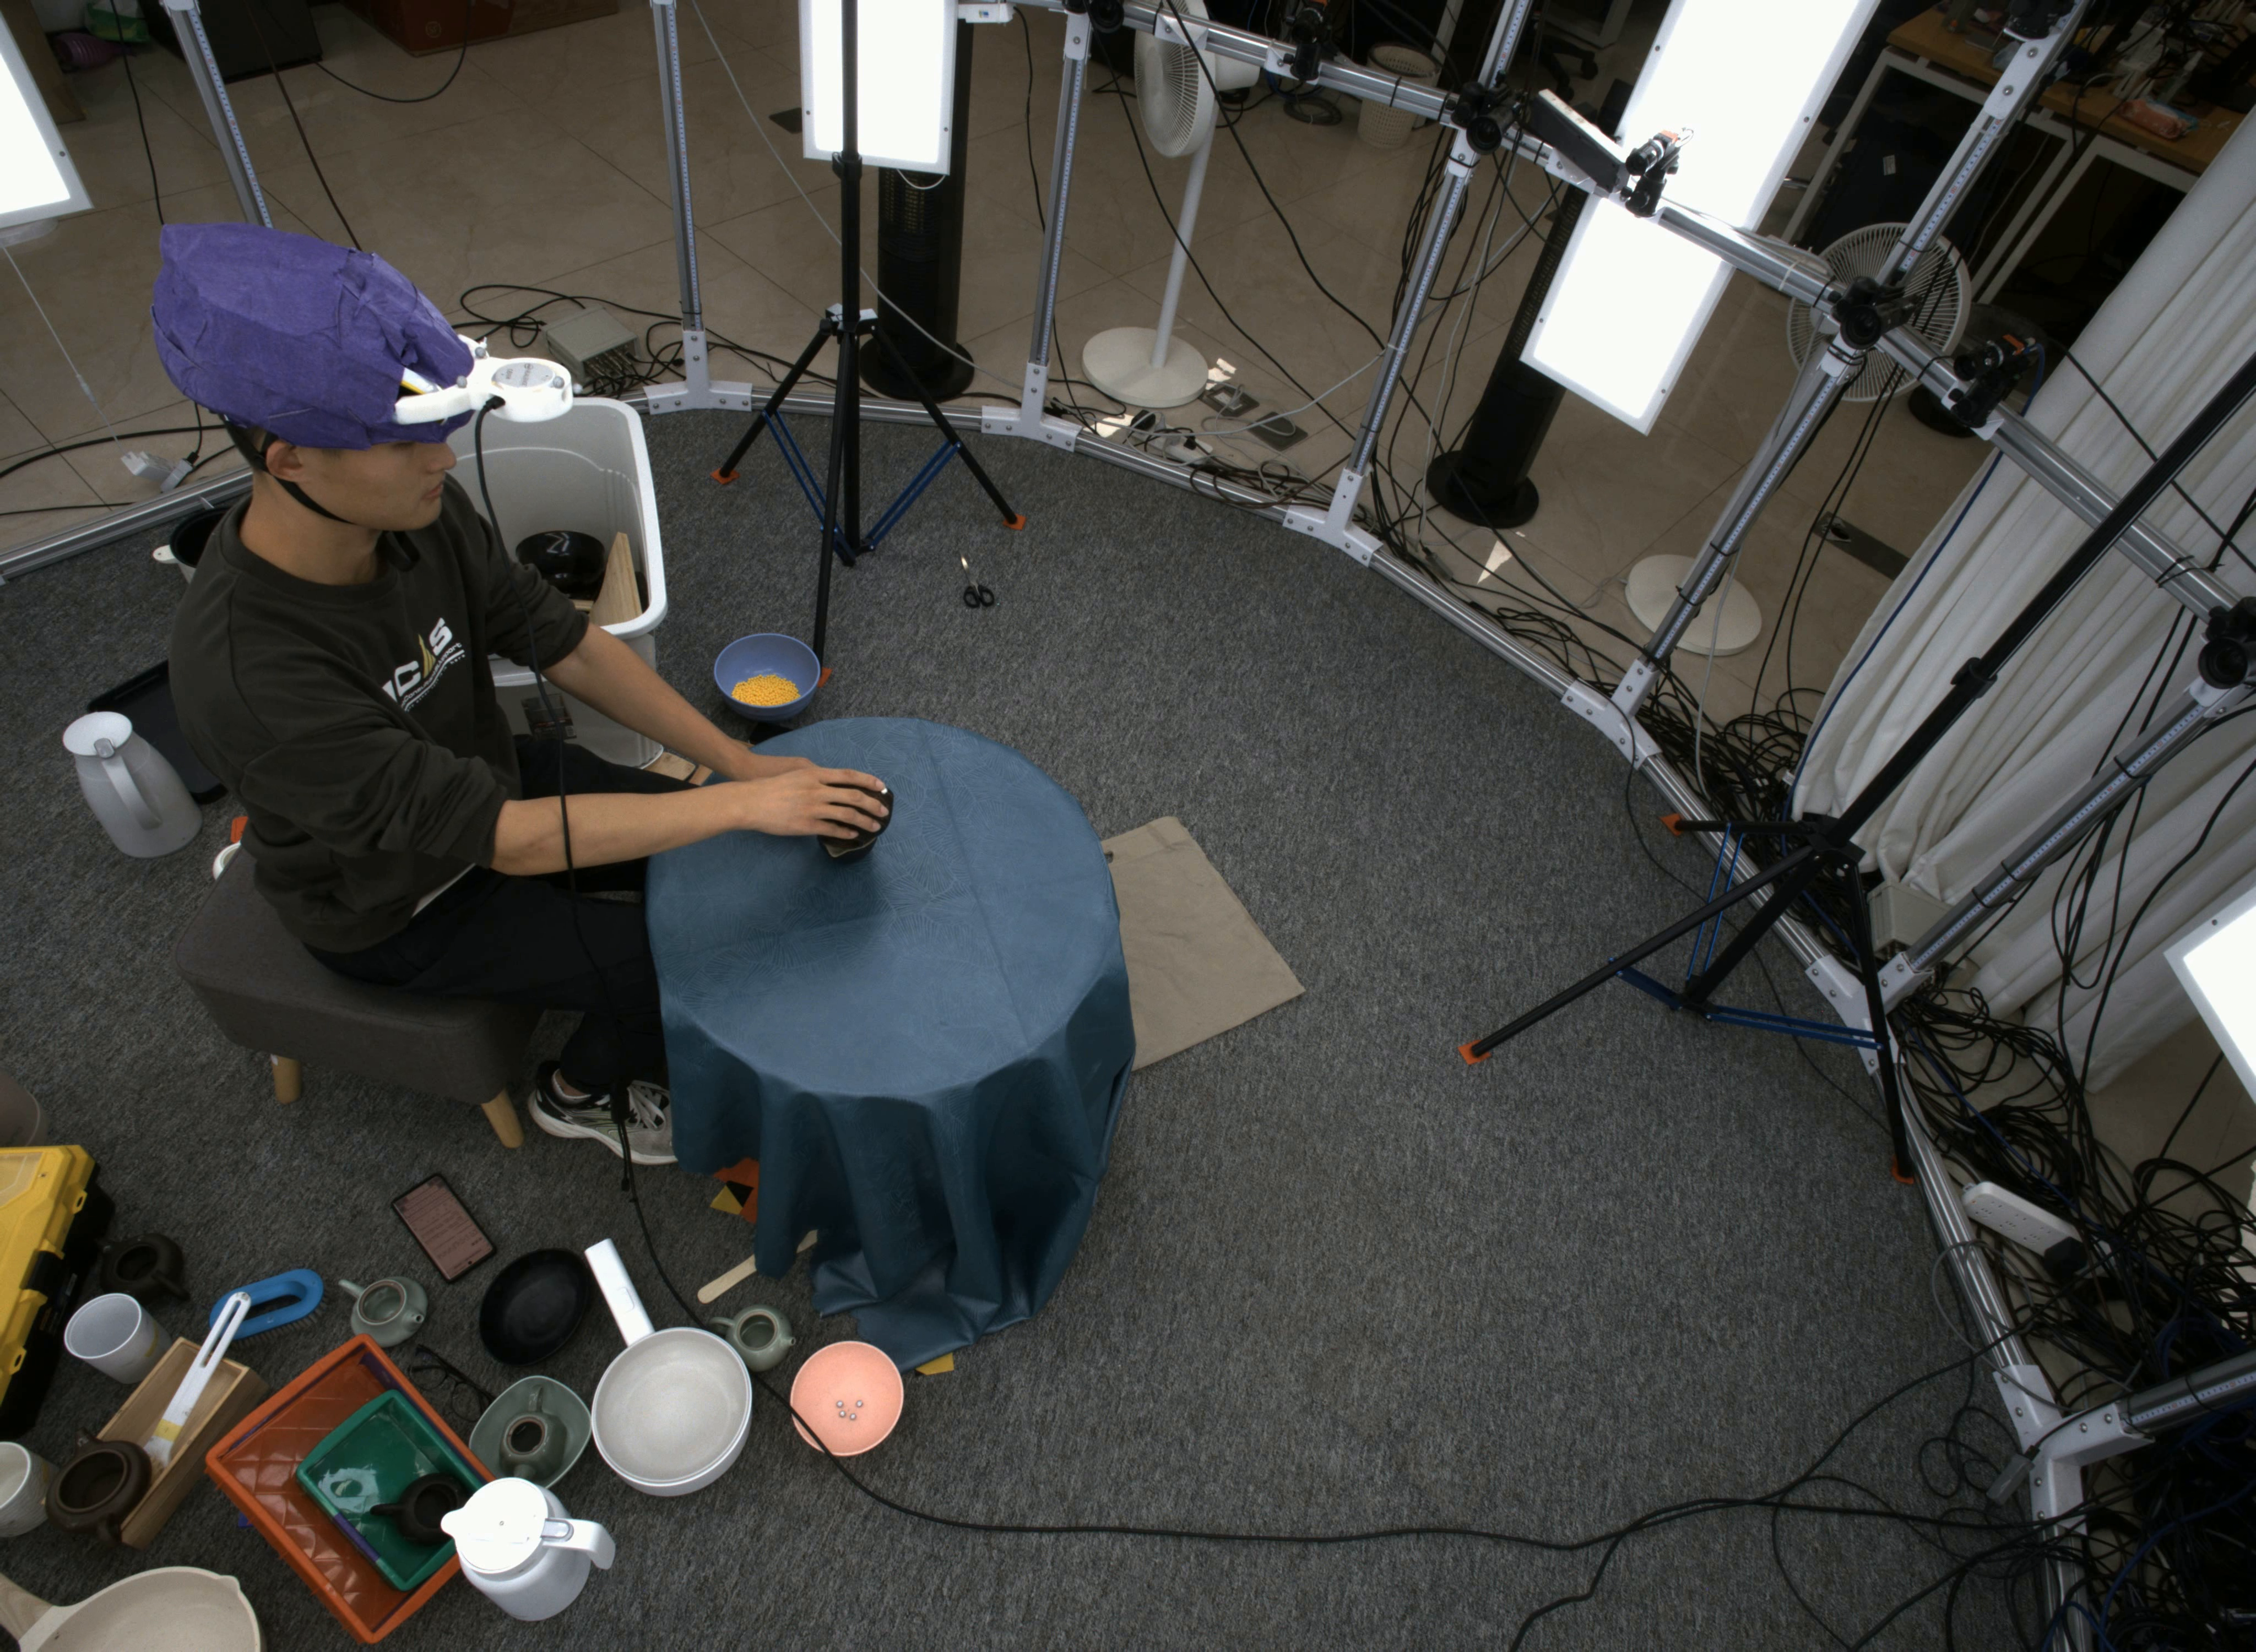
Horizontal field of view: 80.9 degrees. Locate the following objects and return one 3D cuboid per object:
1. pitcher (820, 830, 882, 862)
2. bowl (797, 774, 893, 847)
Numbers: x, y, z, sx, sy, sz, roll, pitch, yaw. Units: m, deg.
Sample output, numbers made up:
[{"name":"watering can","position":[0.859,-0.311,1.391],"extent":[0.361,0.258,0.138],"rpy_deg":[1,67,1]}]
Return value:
[{"name":"pitcher","position":[-0.364,0.009,1.693],"extent":[0.083,0.072,0.095],"rpy_deg":[22,61,-3]},{"name":"bowl","position":[-0.353,-0.015,1.616],"extent":[0.118,0.118,0.070],"rpy_deg":[4,76,-9]}]
